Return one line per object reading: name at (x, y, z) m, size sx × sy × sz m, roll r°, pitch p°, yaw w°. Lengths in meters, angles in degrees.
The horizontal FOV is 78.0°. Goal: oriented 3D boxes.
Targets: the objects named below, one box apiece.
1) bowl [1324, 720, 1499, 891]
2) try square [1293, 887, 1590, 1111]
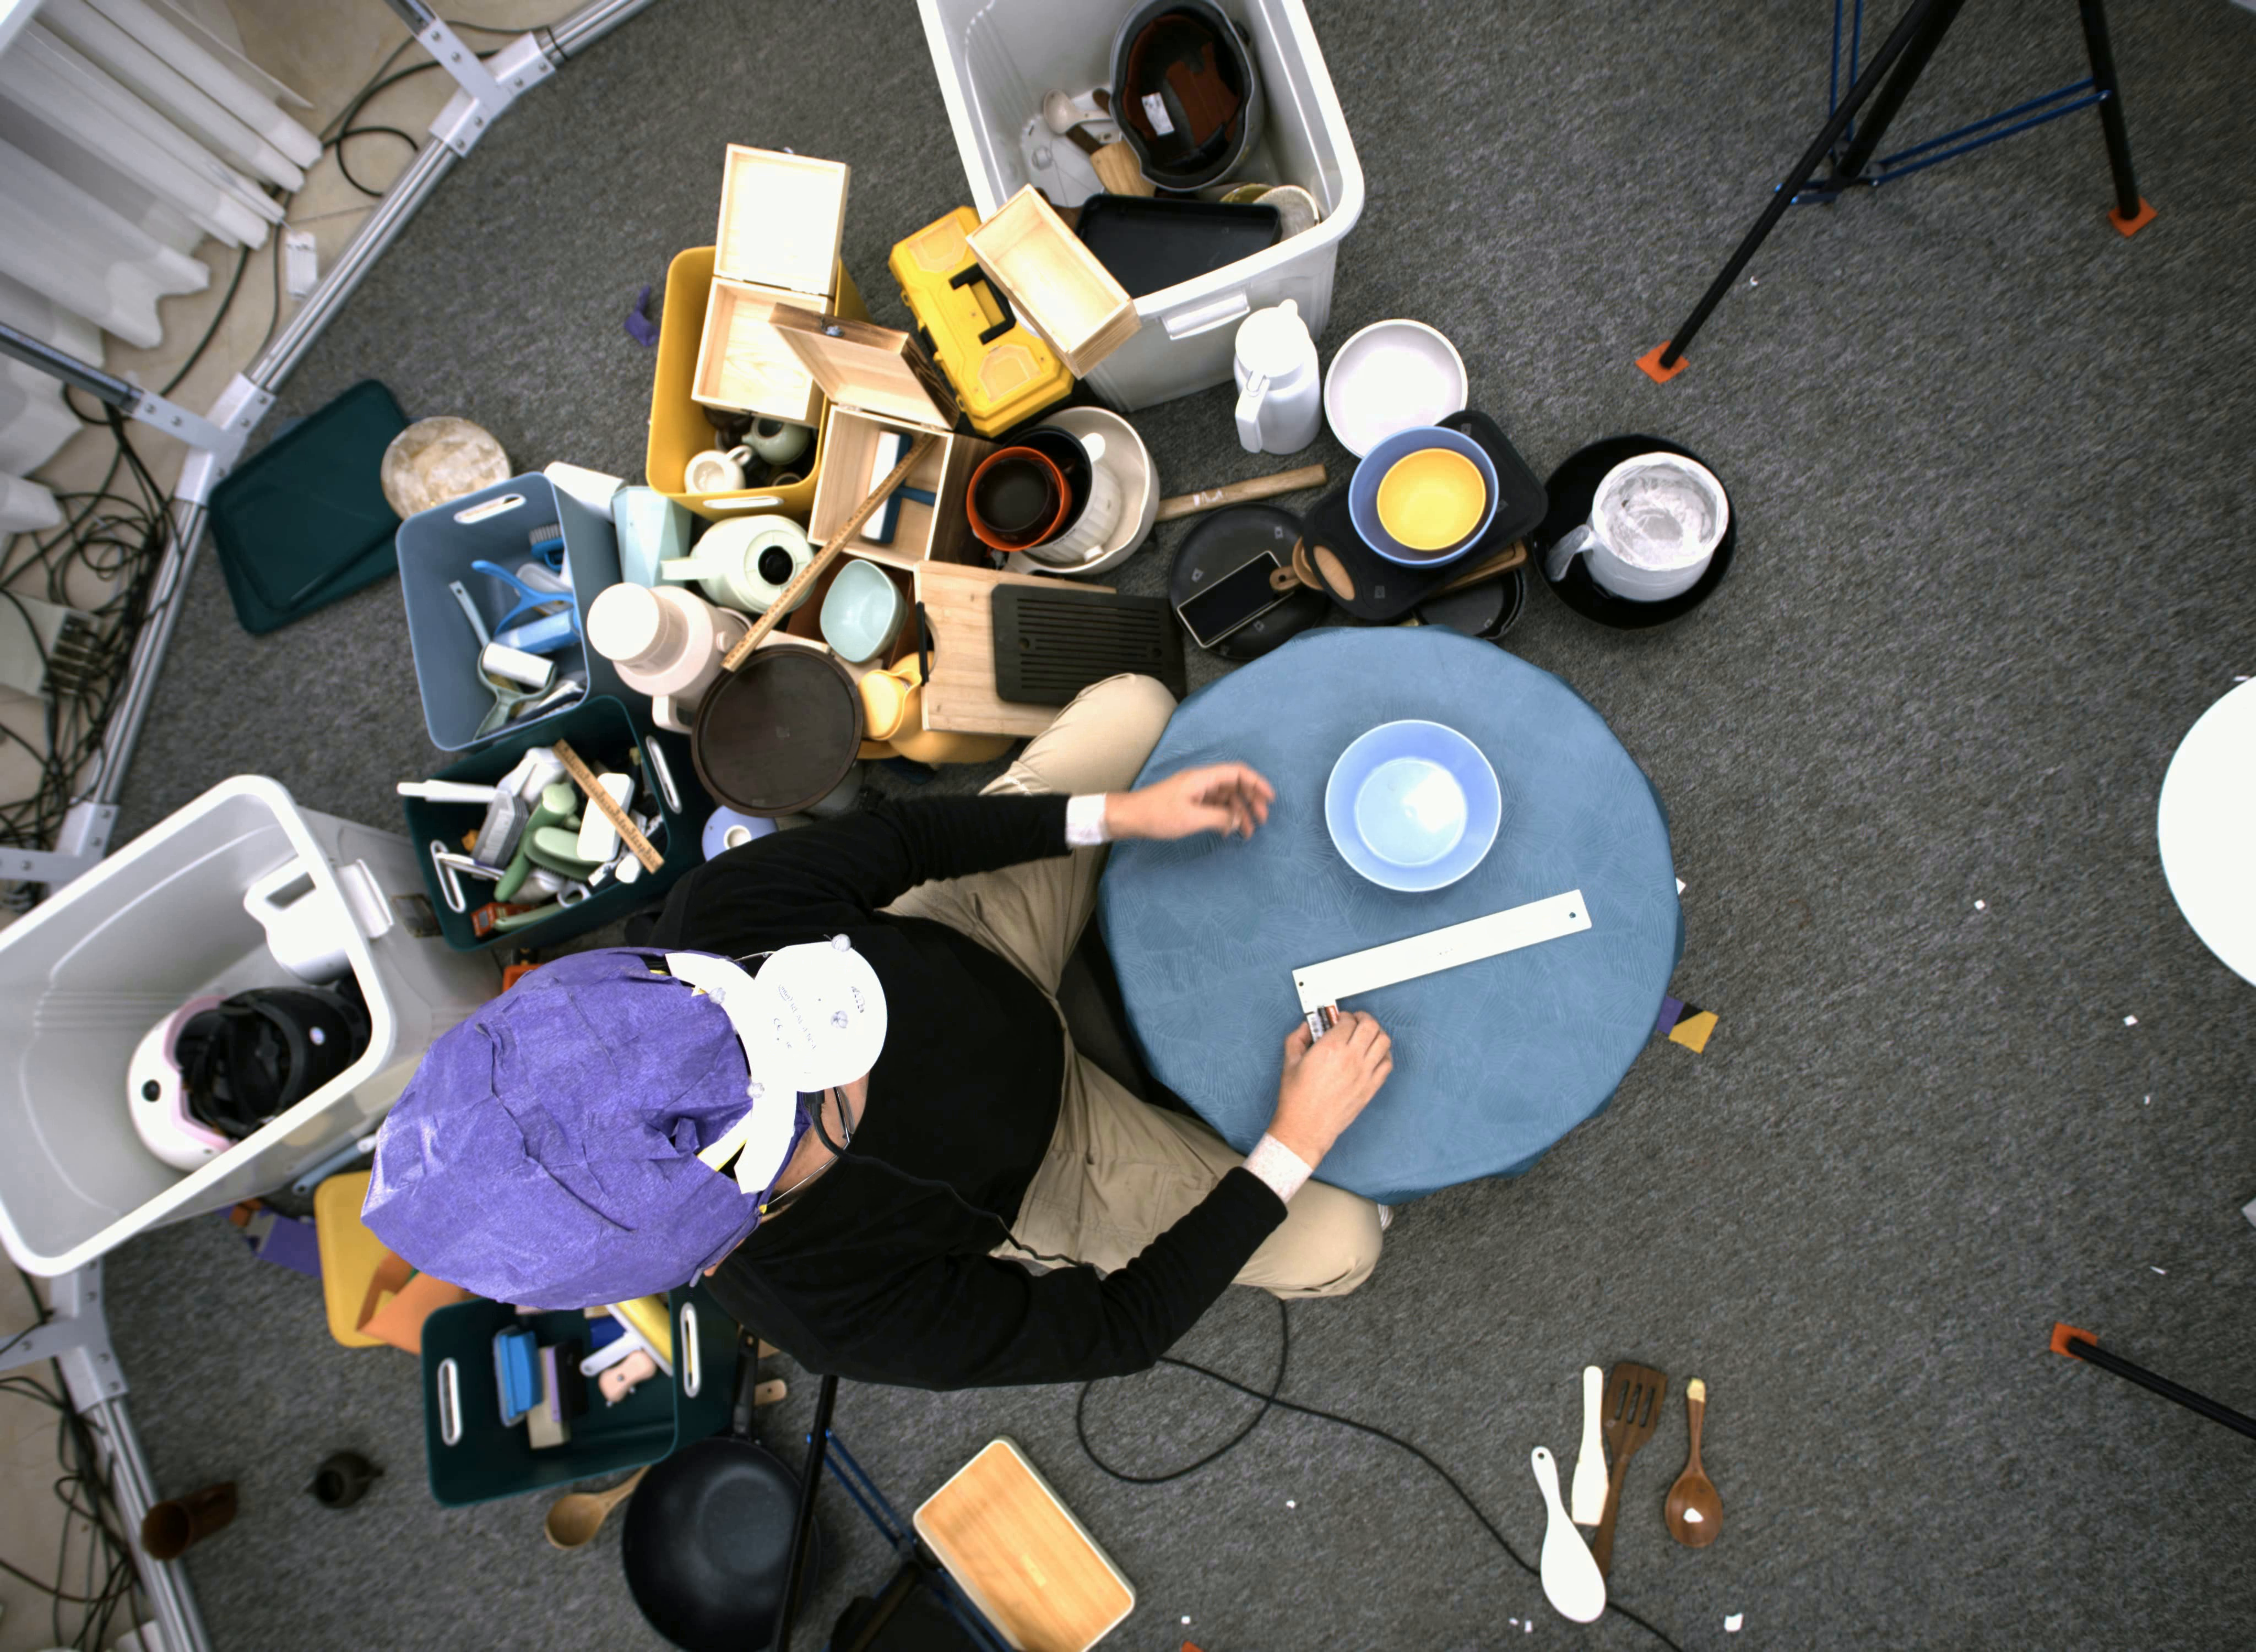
bowl at (0.292, -0.019, 1.426) m, size 0.177 × 0.070 × 0.175 m, roll -1°, pitch 87°, yaw 10°
try square at (0.340, 0.178, 1.433) m, size 0.314 × 0.016 × 0.151 m, roll -18°, pitch 81°, yaw 8°
